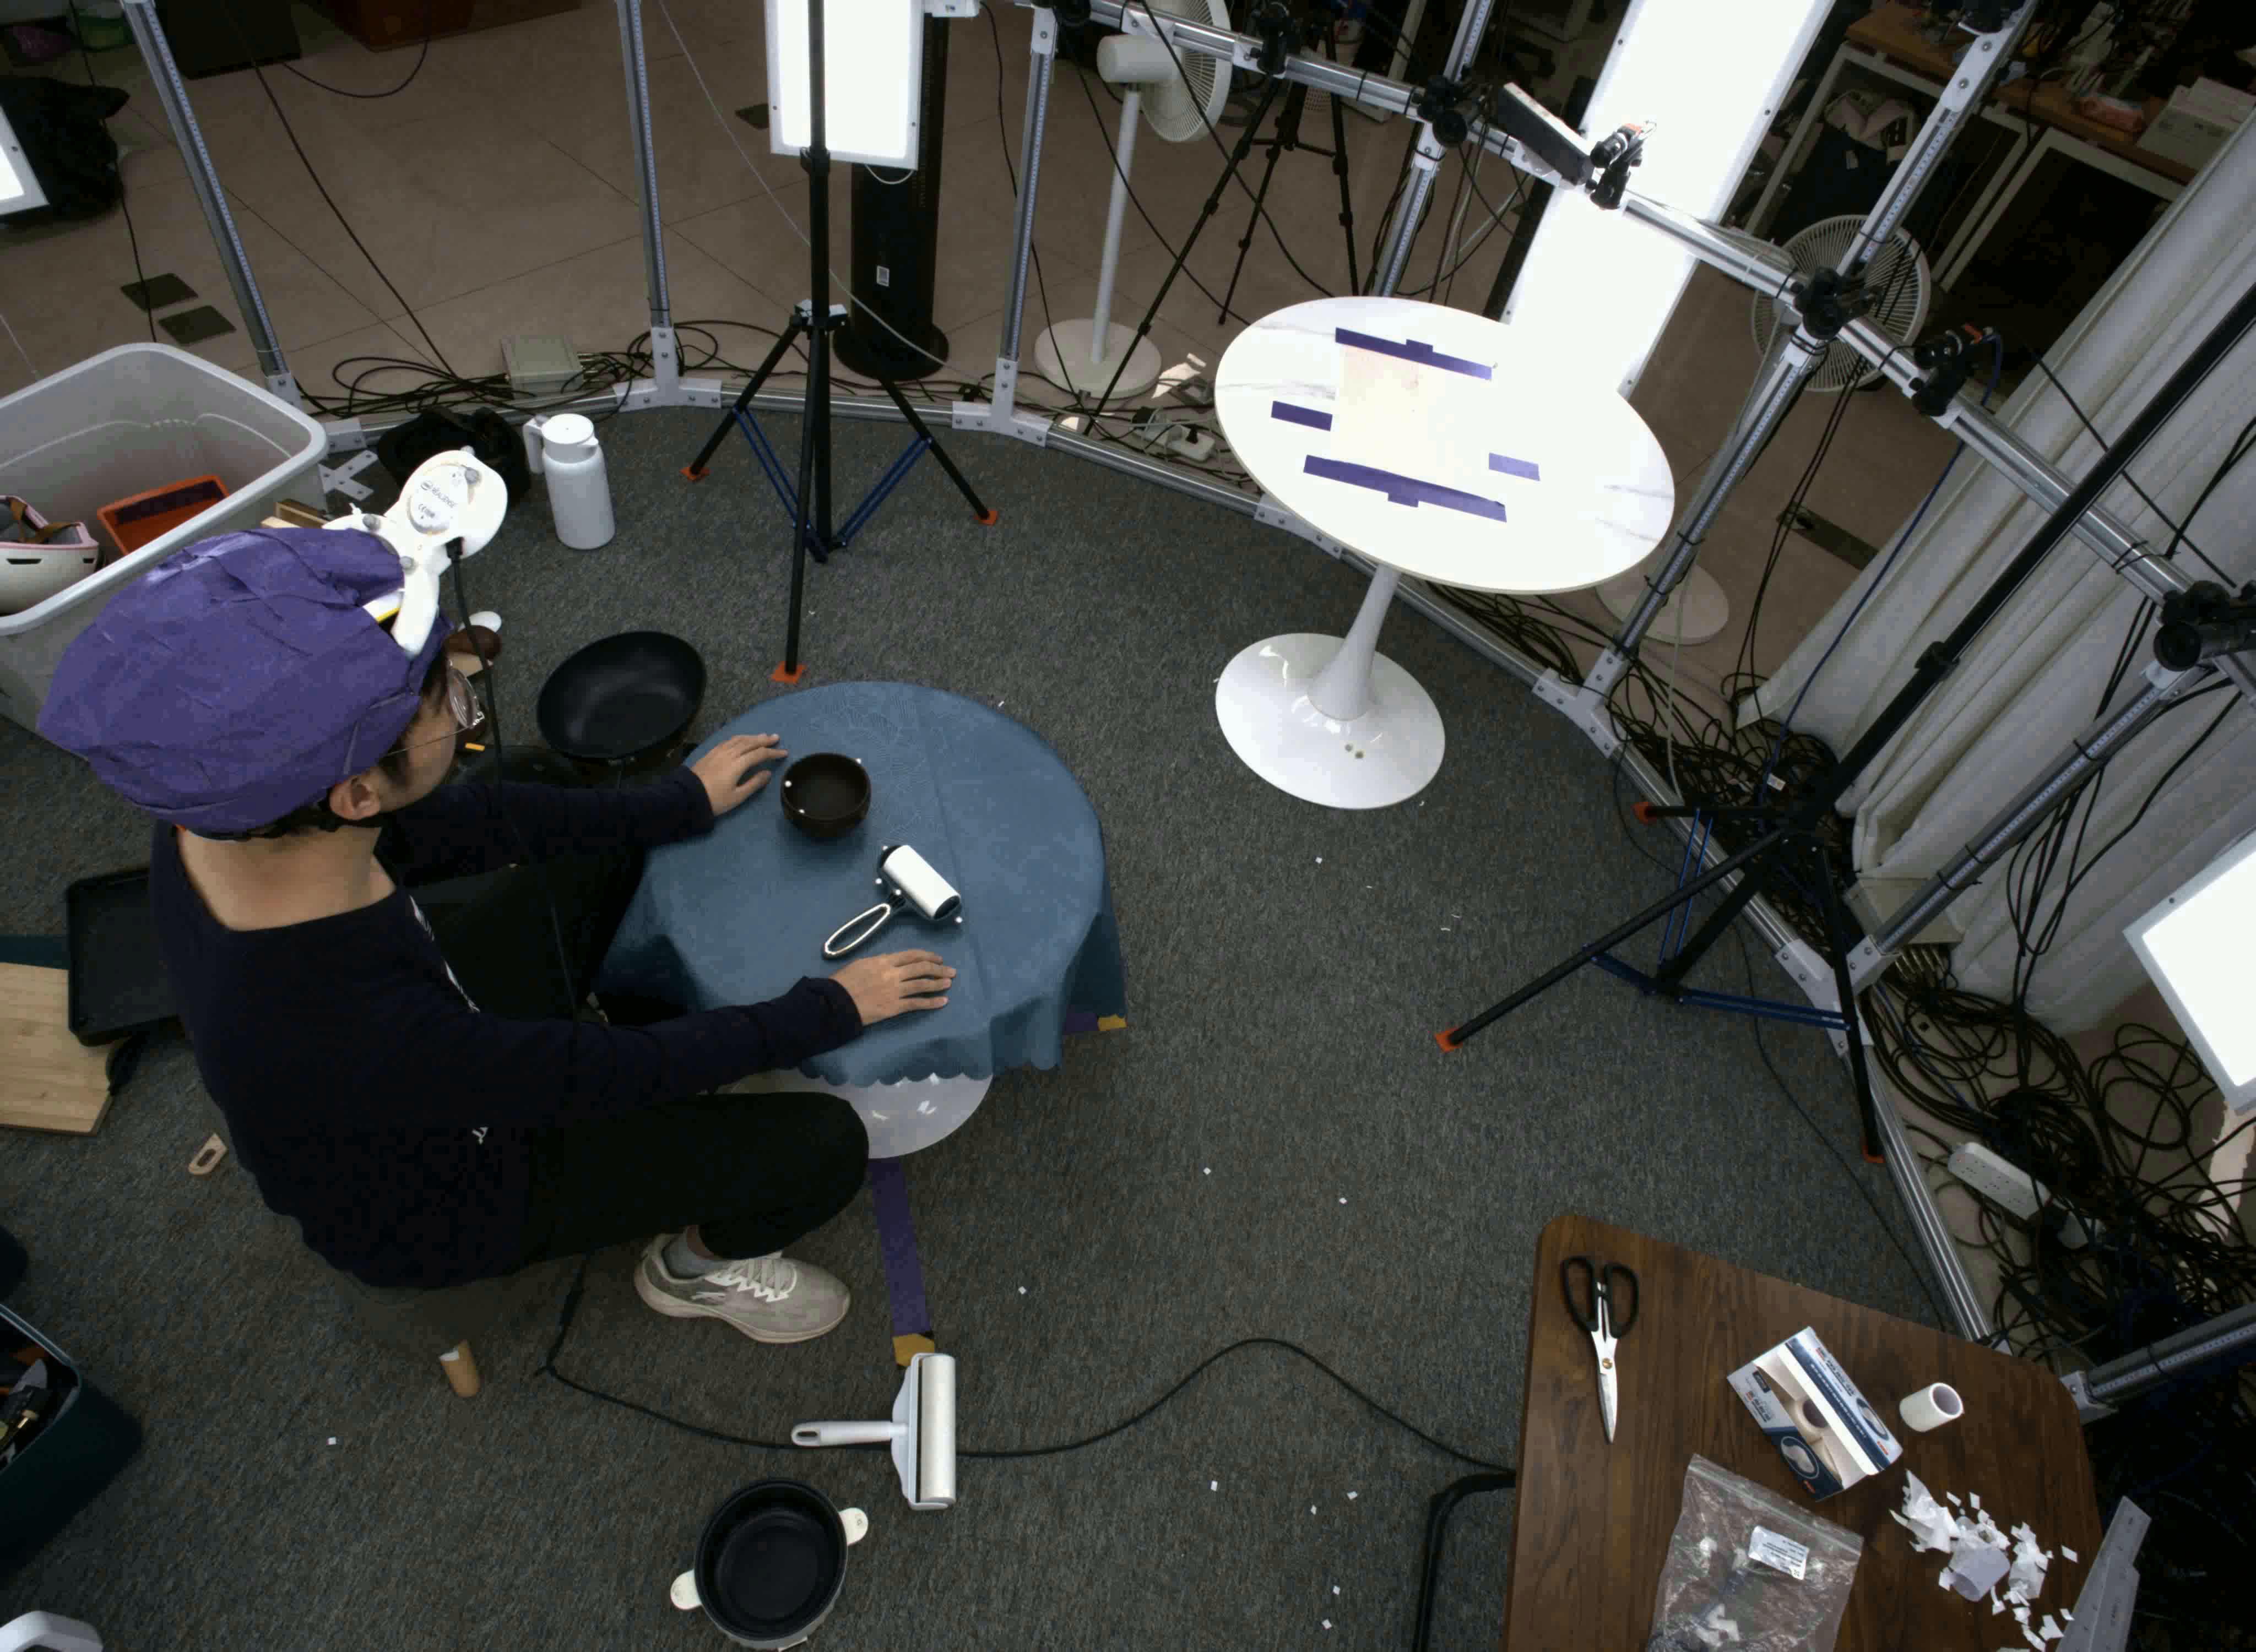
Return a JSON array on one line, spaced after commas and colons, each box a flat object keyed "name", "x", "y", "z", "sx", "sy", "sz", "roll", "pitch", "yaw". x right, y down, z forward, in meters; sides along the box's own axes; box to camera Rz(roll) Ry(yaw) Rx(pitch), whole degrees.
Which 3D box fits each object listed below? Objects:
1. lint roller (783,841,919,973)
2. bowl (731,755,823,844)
[{"name": "lint roller", "x": -0.366, "y": 0.113, "z": 1.640, "sx": 0.131, "sy": 0.049, "sz": 0.180, "roll": 39, "pitch": 58, "yaw": 16}, {"name": "bowl", "x": -0.460, "y": -0.028, "z": 1.700, "sx": 0.118, "sy": 0.071, "sz": 0.116, "roll": 7, "pitch": 55, "yaw": -8}]
